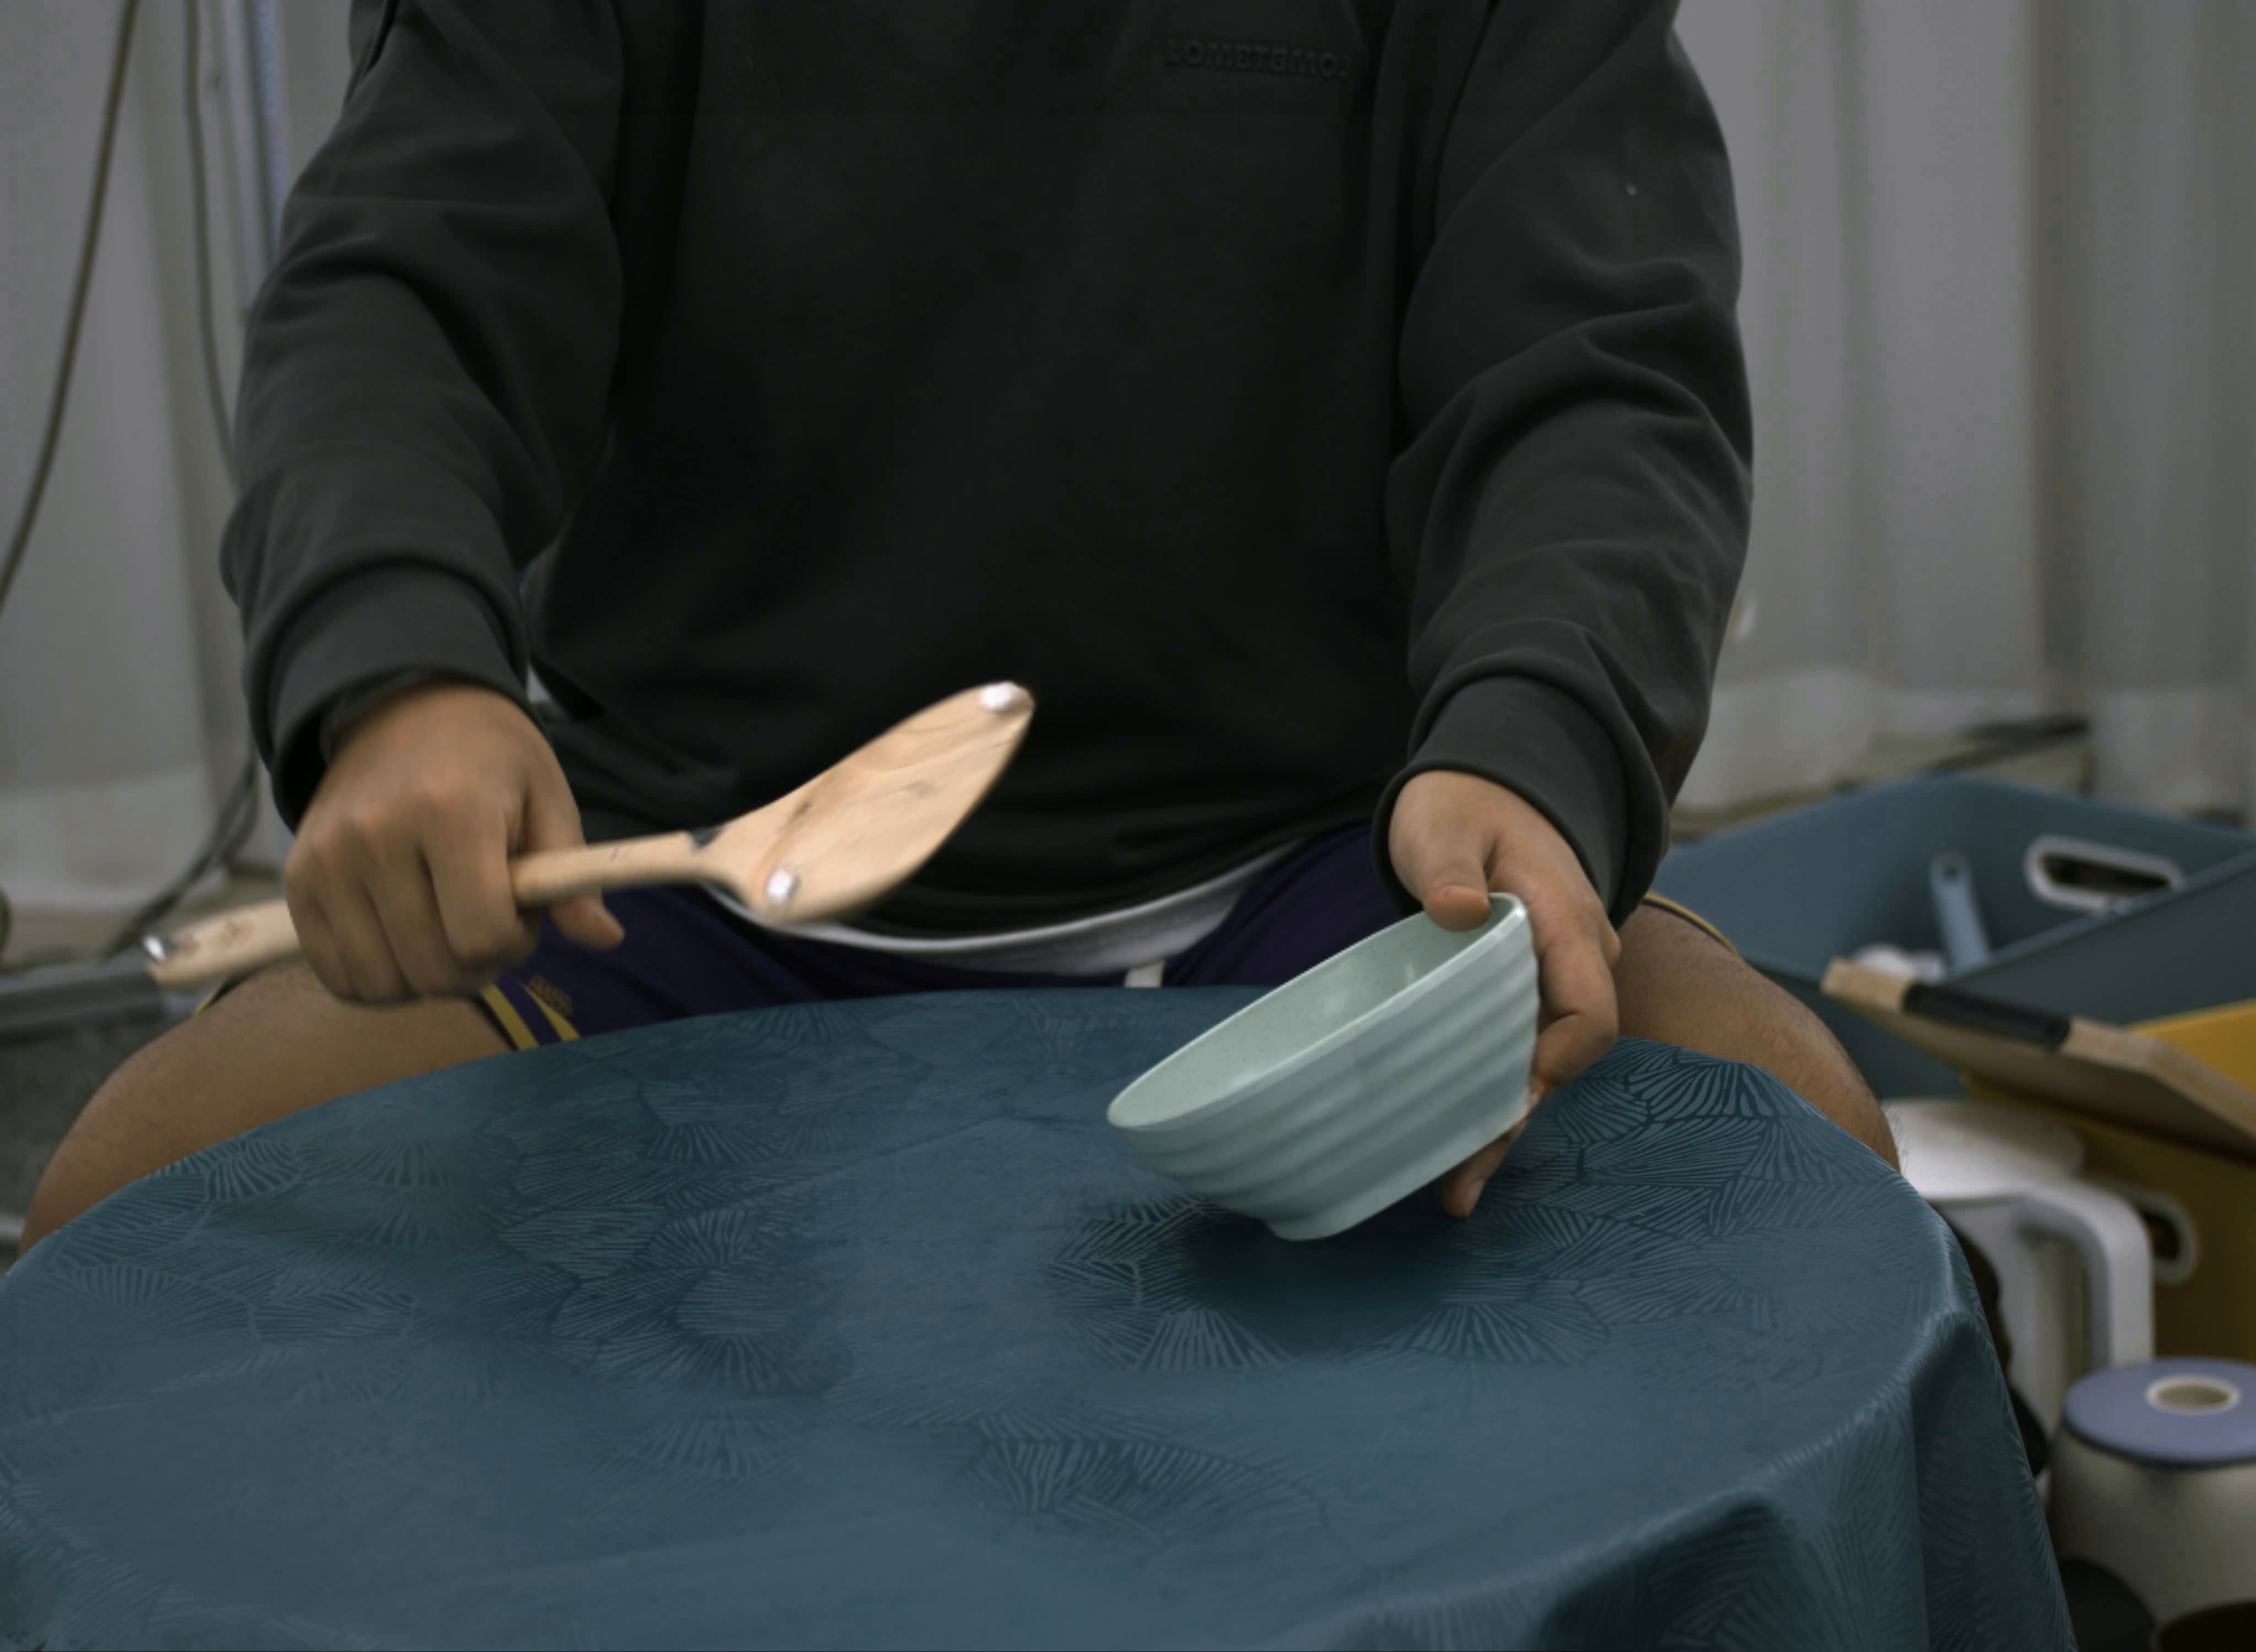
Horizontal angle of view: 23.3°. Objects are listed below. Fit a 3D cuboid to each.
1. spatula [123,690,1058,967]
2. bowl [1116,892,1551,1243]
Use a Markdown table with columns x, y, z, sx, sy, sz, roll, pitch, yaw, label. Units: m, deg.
| x | y | z | sx | sy | sz | roll | pitch | yaw | label |
| --- | --- | --- | --- | --- | --- | --- | --- | --- | --- |
| -0.177 | 0.013 | 1.640 | 0.391 | 0.018 | 0.096 | -9 | 25 | 40 | spatula |
| 0.072 | 0.080 | 1.652 | 0.151 | 0.058 | 0.152 | -29 | 7 | 4 | bowl |
